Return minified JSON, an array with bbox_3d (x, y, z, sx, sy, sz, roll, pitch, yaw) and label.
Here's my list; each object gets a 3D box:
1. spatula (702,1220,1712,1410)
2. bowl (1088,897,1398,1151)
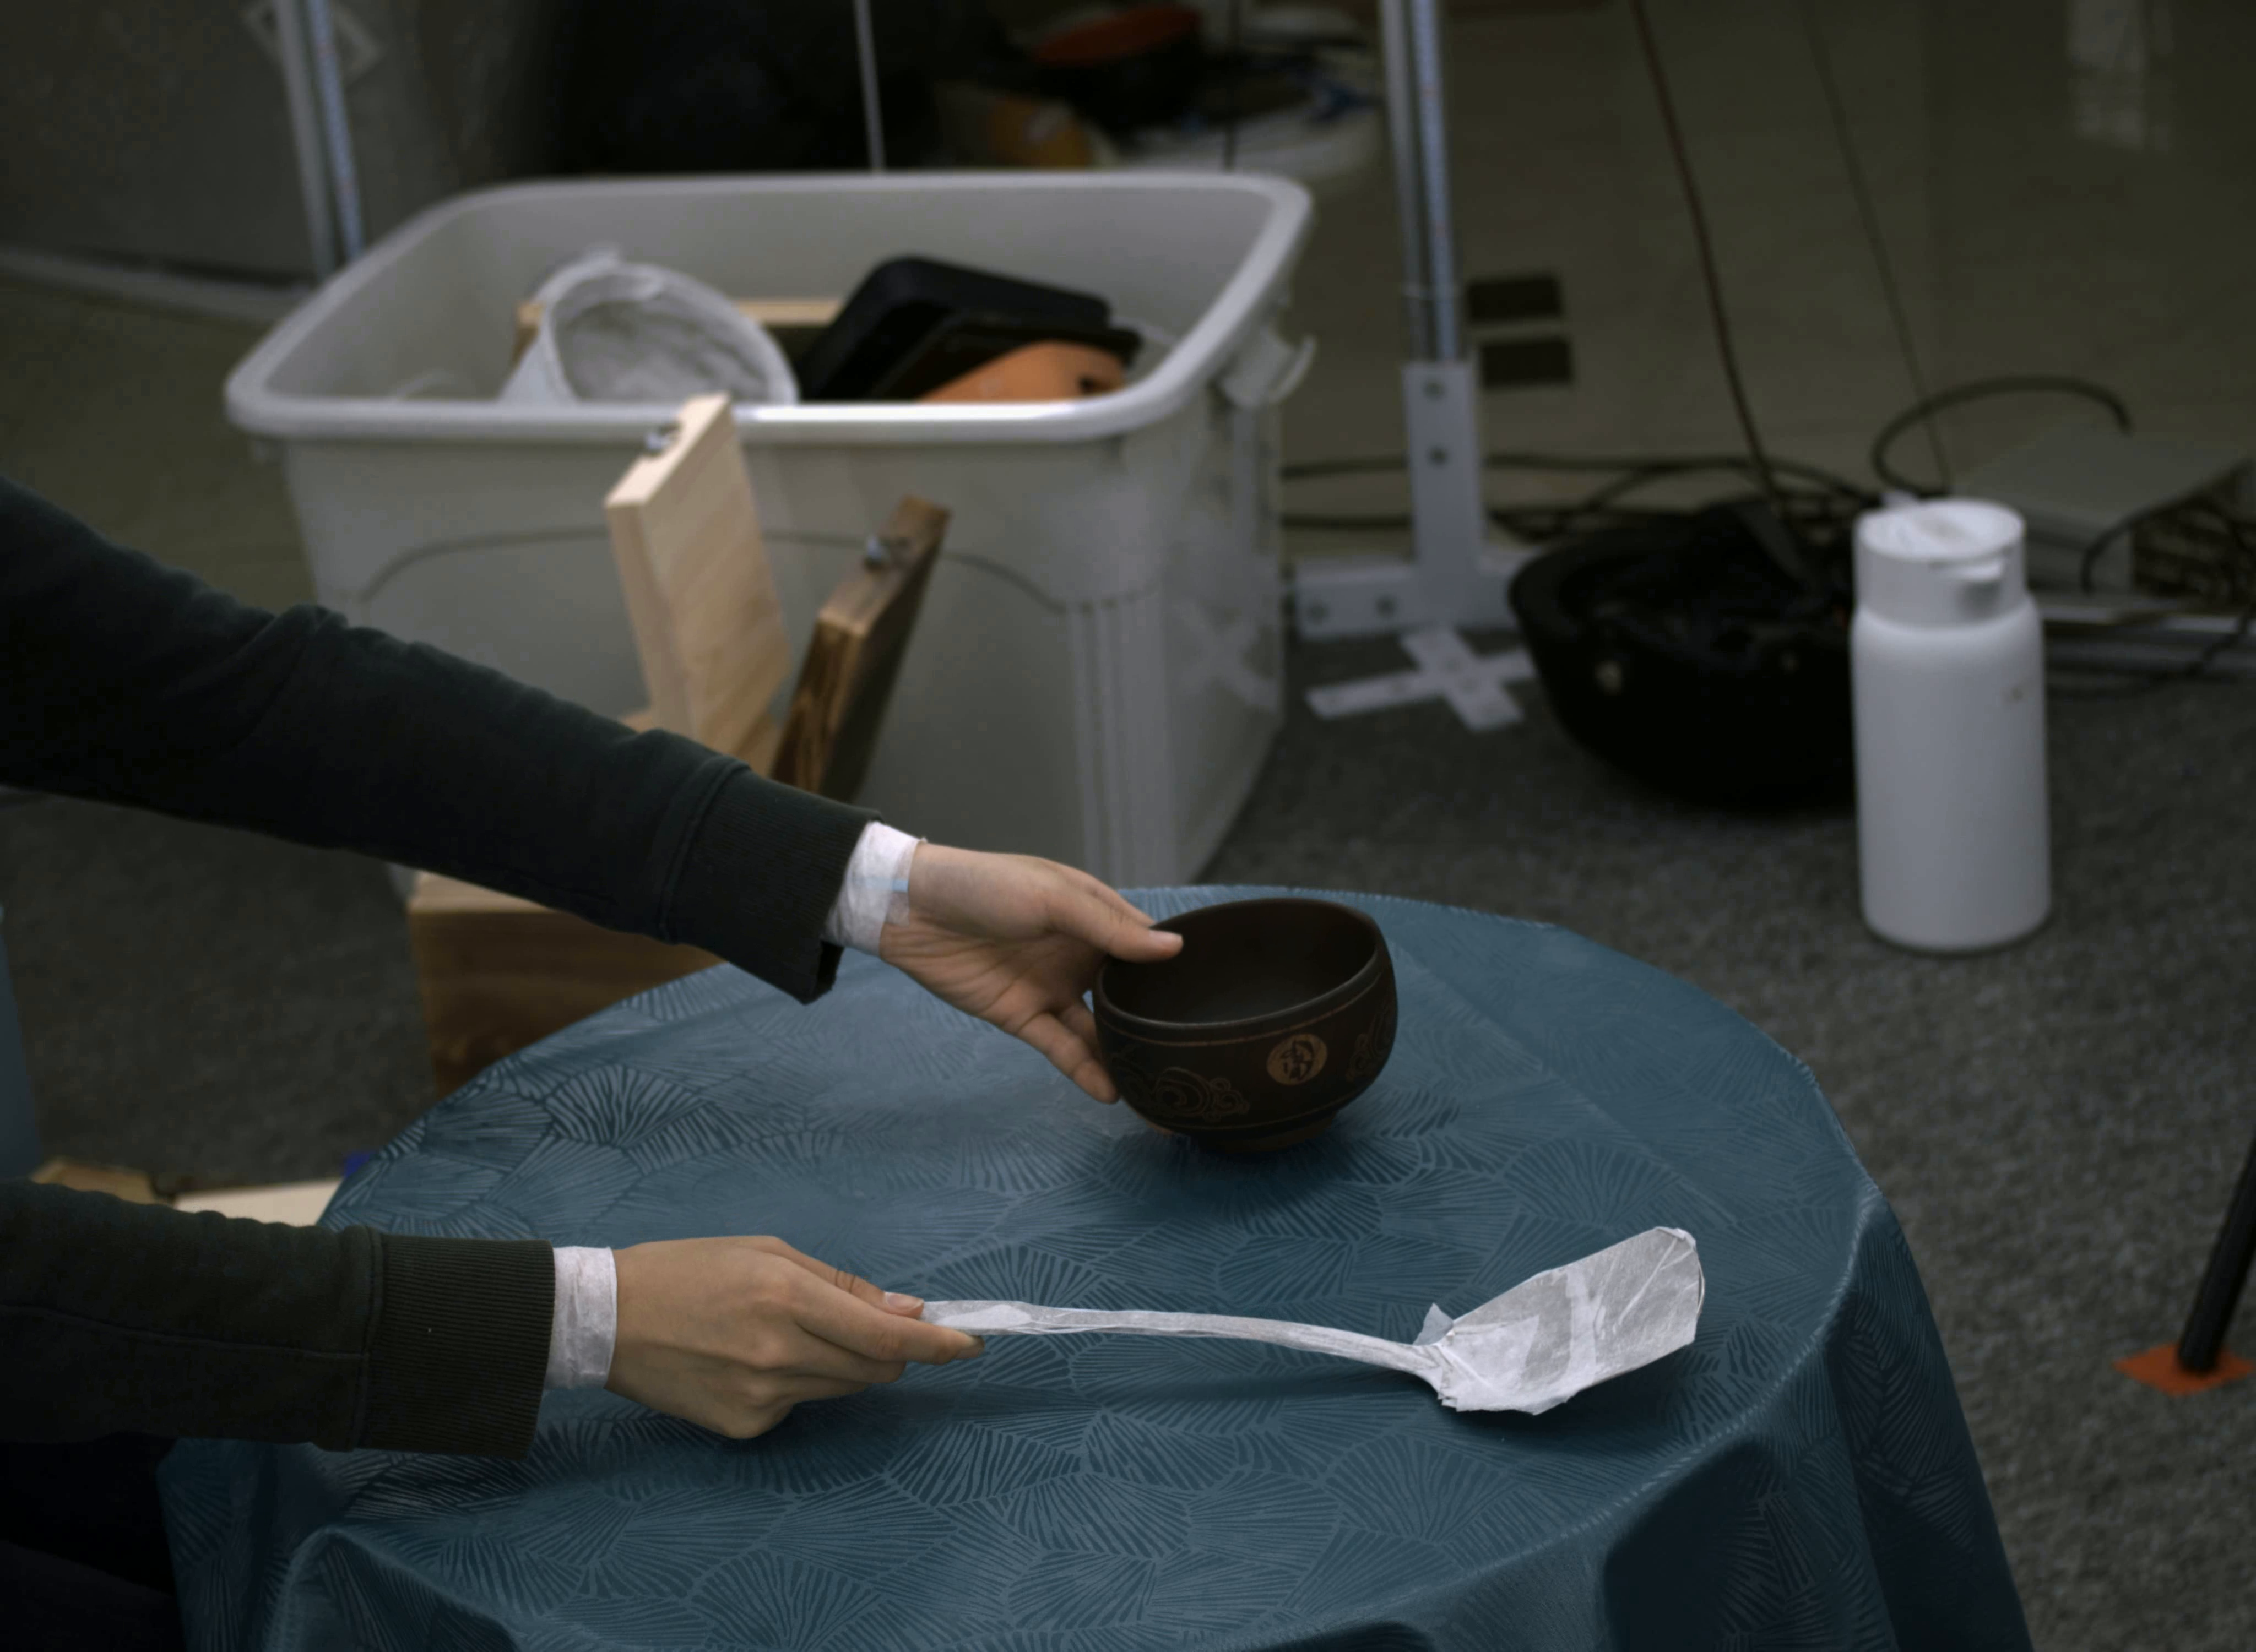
[{"bbox_3d":[0.023,0.172,2.012,0.364,0.045,0.097,2,27,7],"label":"spatula"},{"bbox_3d":[0.047,0.082,2.173,0.118,0.071,0.116,-9,22,4],"label":"bowl"}]
